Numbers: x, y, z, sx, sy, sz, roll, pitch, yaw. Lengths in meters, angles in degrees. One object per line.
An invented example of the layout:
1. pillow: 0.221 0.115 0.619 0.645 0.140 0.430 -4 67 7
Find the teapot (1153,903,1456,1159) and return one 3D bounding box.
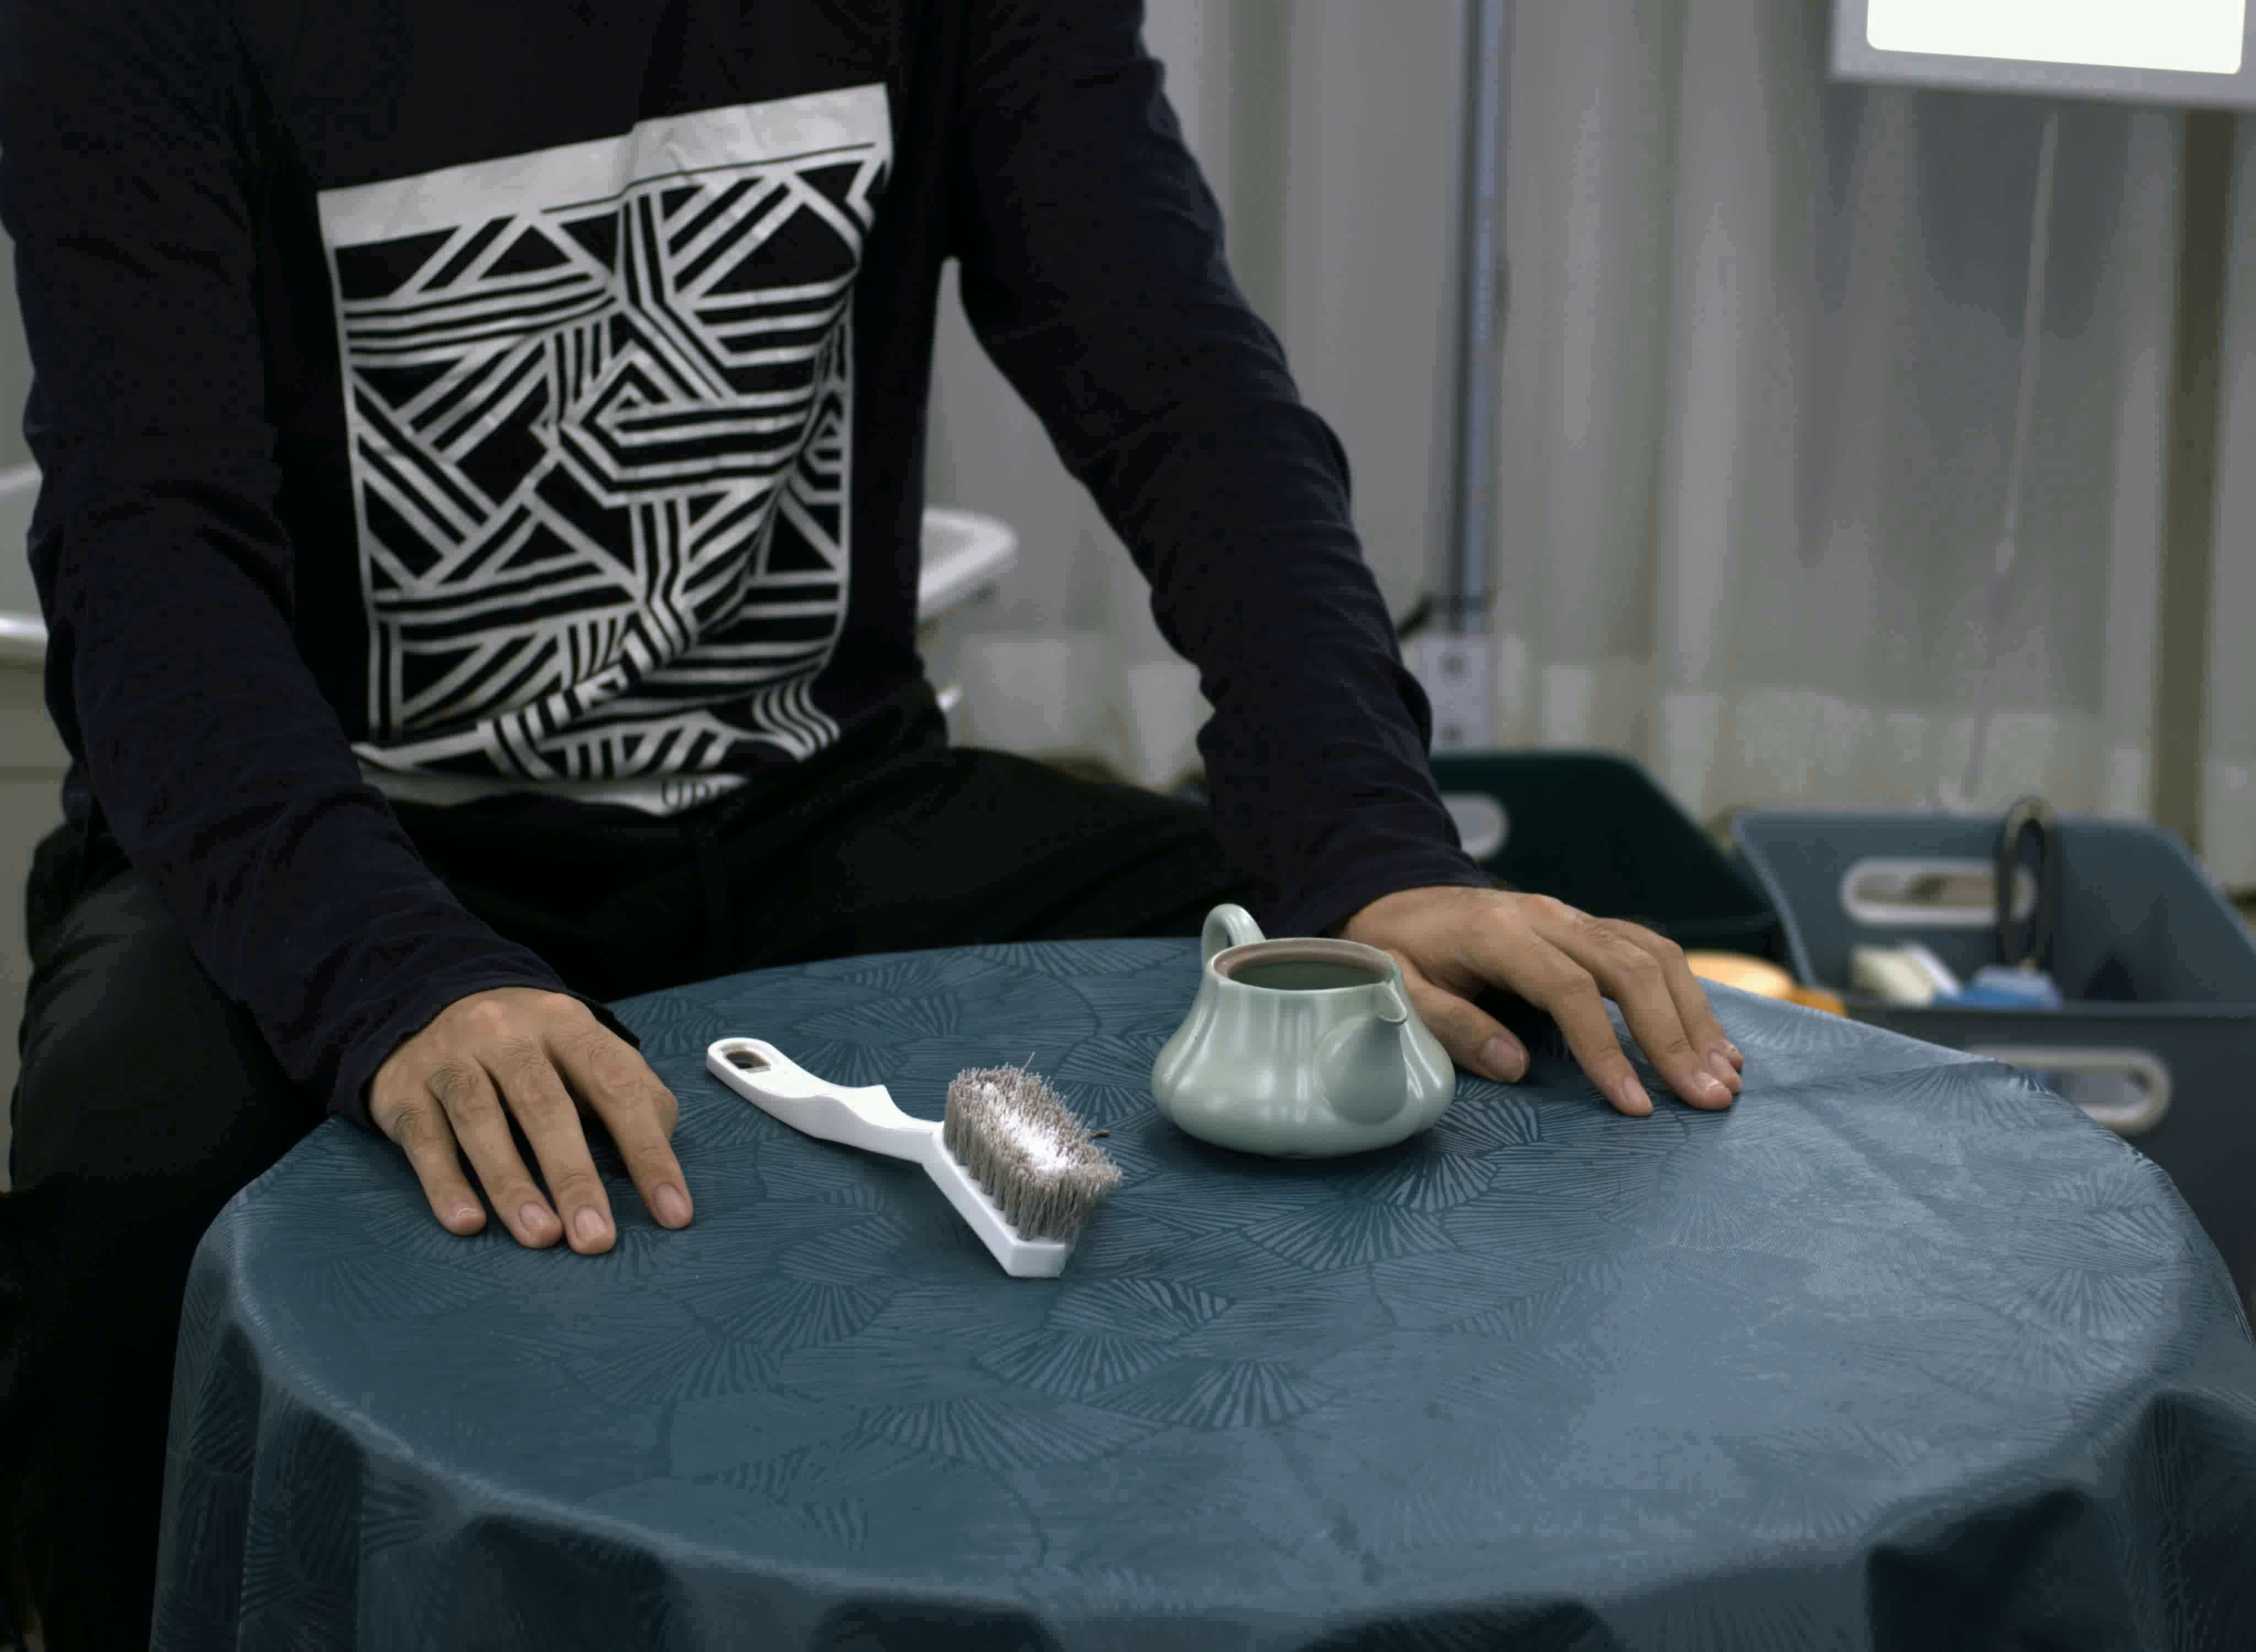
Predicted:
1. teapot: 0.054 0.067 1.677 0.096 0.062 0.135 -10 20 -25

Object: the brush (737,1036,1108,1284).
1. brush: -0.070 0.084 1.638 0.034 0.051 0.240 -12 19 -24
